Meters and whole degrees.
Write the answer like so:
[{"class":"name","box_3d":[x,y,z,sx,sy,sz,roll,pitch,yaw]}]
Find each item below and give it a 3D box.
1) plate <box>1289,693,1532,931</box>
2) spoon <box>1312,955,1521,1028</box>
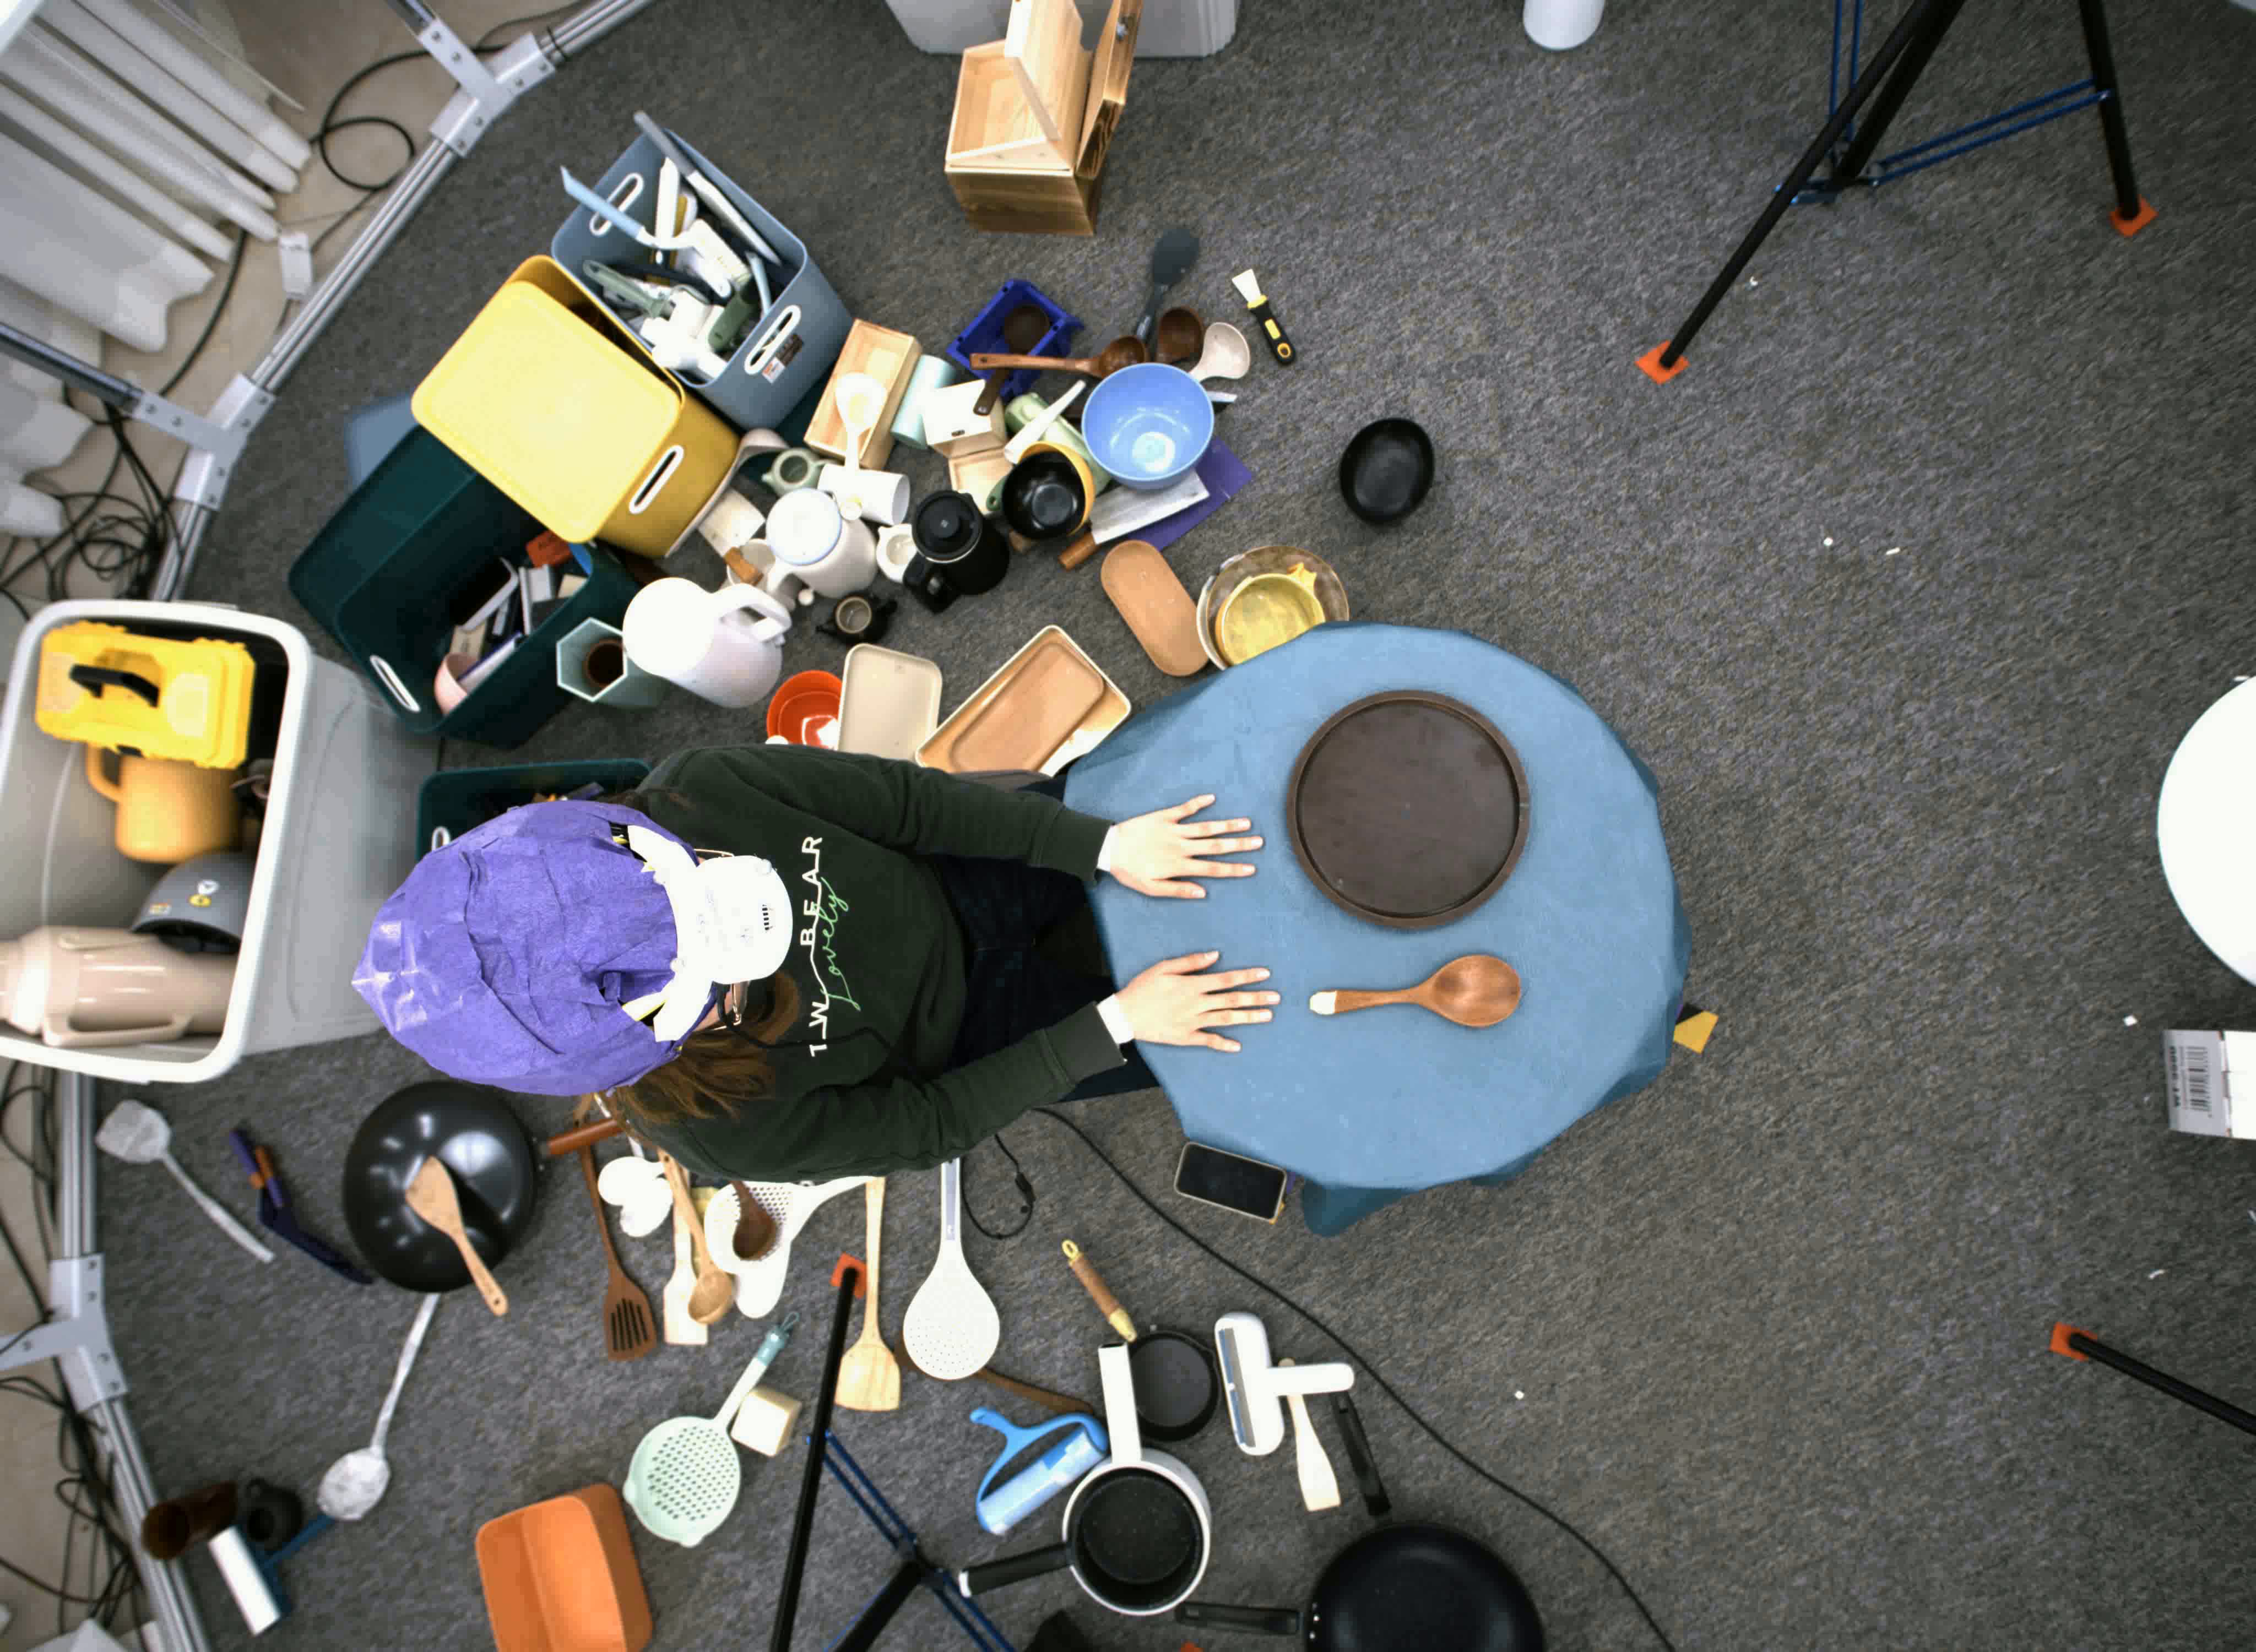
[{"class":"plate","box_3d":[0.296,-0.017,1.455,0.256,0.029,0.253,-1,85,10]},{"class":"spoon","box_3d":[0.300,0.178,1.443,0.217,0.017,0.075,-6,85,10]}]
